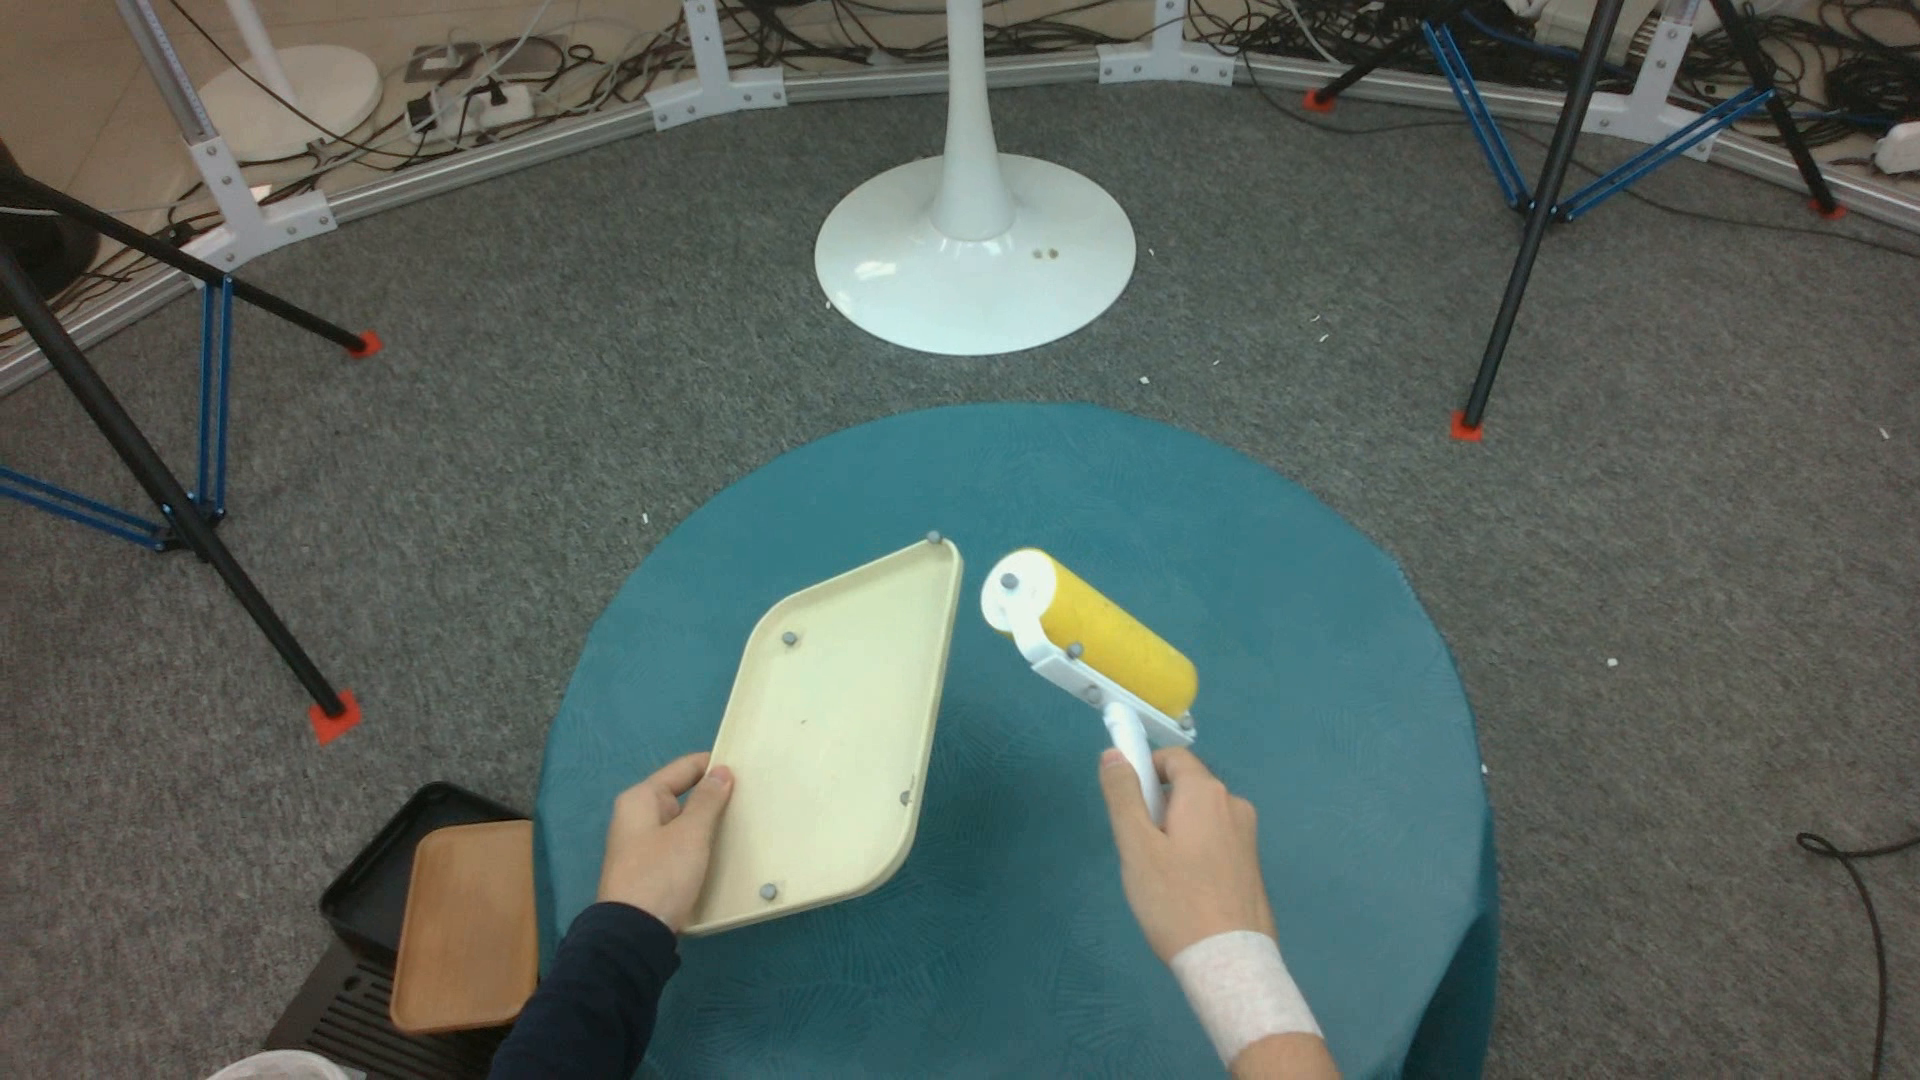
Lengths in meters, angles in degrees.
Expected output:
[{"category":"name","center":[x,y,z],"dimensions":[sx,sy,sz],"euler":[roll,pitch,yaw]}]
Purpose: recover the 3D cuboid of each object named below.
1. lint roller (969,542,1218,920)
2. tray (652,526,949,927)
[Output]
[{"category":"lint roller","center":[0.096,0.101,0.714],"dimensions":[0.051,0.174,0.192],"euler":[-42,50,15]},{"category":"tray","center":[-0.084,0.101,0.779],"dimensions":[0.170,0.017,0.241],"euler":[-22,38,29]}]
